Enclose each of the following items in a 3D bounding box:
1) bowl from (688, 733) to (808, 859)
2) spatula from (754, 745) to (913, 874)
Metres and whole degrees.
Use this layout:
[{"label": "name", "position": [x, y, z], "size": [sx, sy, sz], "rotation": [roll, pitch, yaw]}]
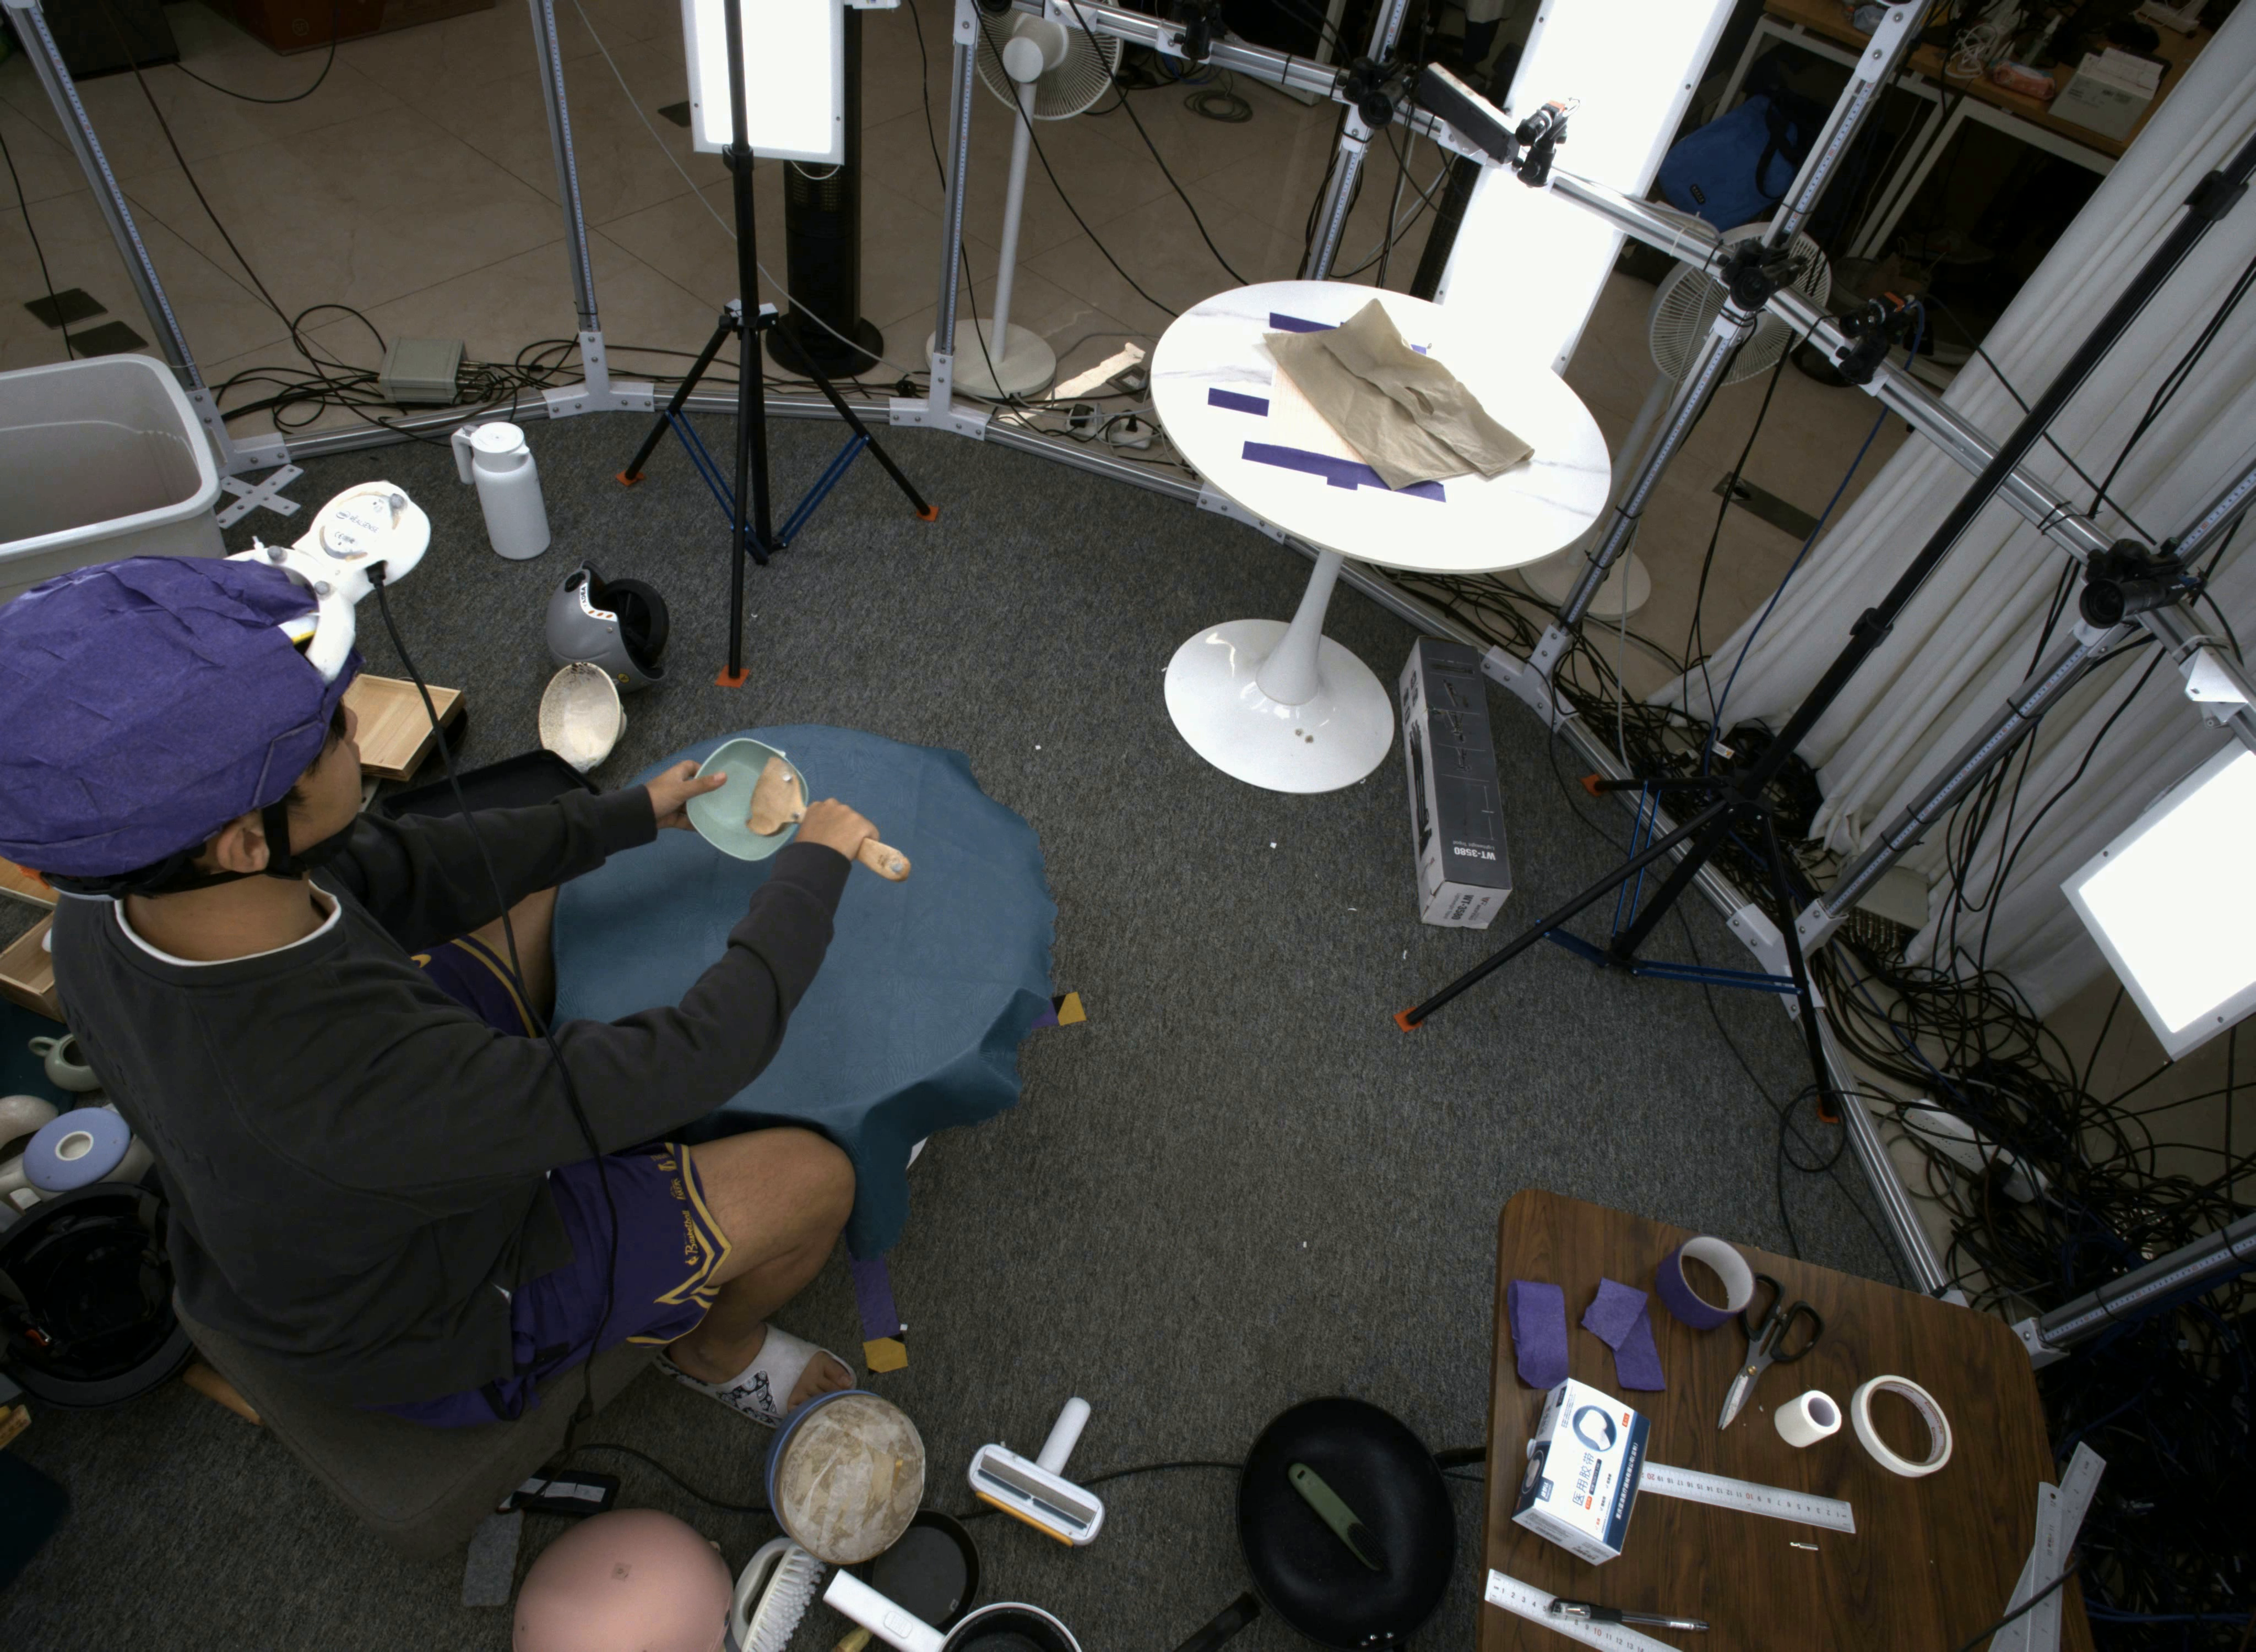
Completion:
[{"label": "bowl", "position": [-0.478, -0.039, 1.605], "size": [0.152, 0.156, 0.057], "rotation": [-27, 20, -29]}, {"label": "spatula", "position": [-0.326, -0.012, 1.418], "size": [0.019, 0.097, 0.376], "rotation": [16, 3, -39]}]
